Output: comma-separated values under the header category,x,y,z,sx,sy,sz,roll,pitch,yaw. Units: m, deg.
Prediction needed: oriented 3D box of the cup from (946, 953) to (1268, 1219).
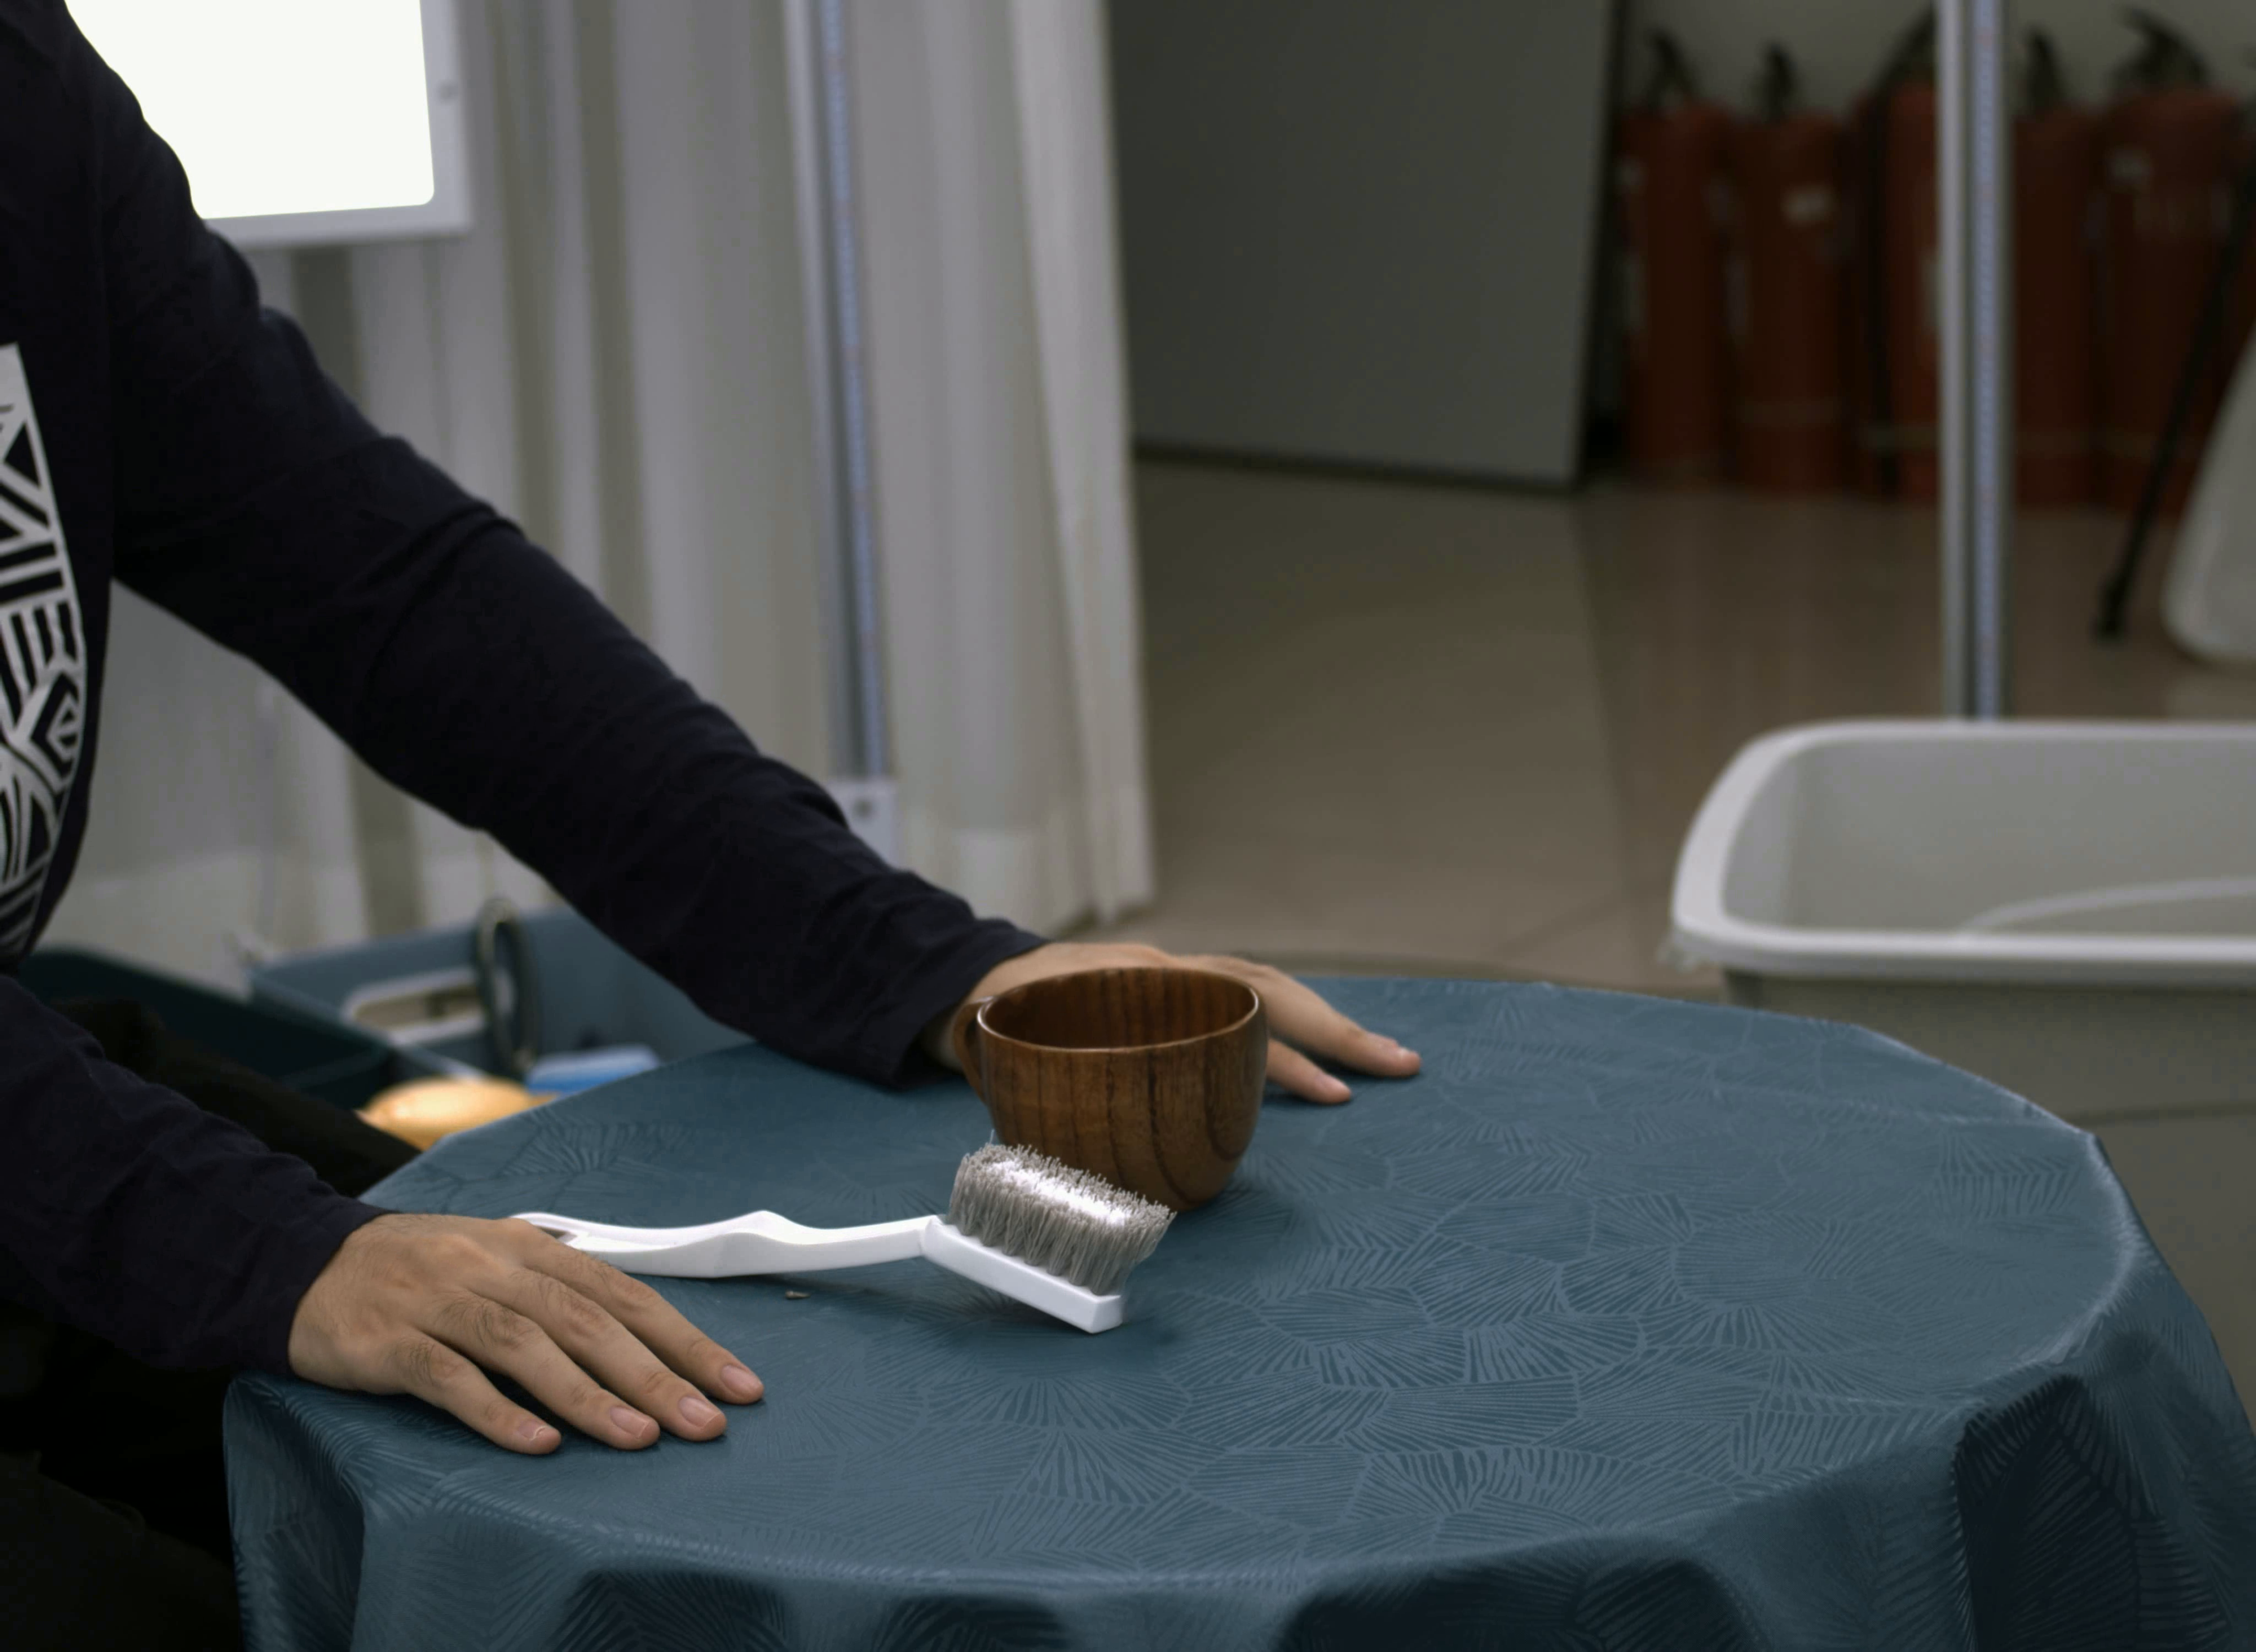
category,x,y,z,sx,sy,sz,roll,pitch,yaw
cup,-0.010,0.086,1.775,0.120,0.068,0.094,10,21,38

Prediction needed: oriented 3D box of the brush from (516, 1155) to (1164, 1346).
category,x,y,z,sx,sy,sz,roll,pitch,yaw
brush,-0.096,0.123,1.699,0.245,0.051,0.034,5,21,33
